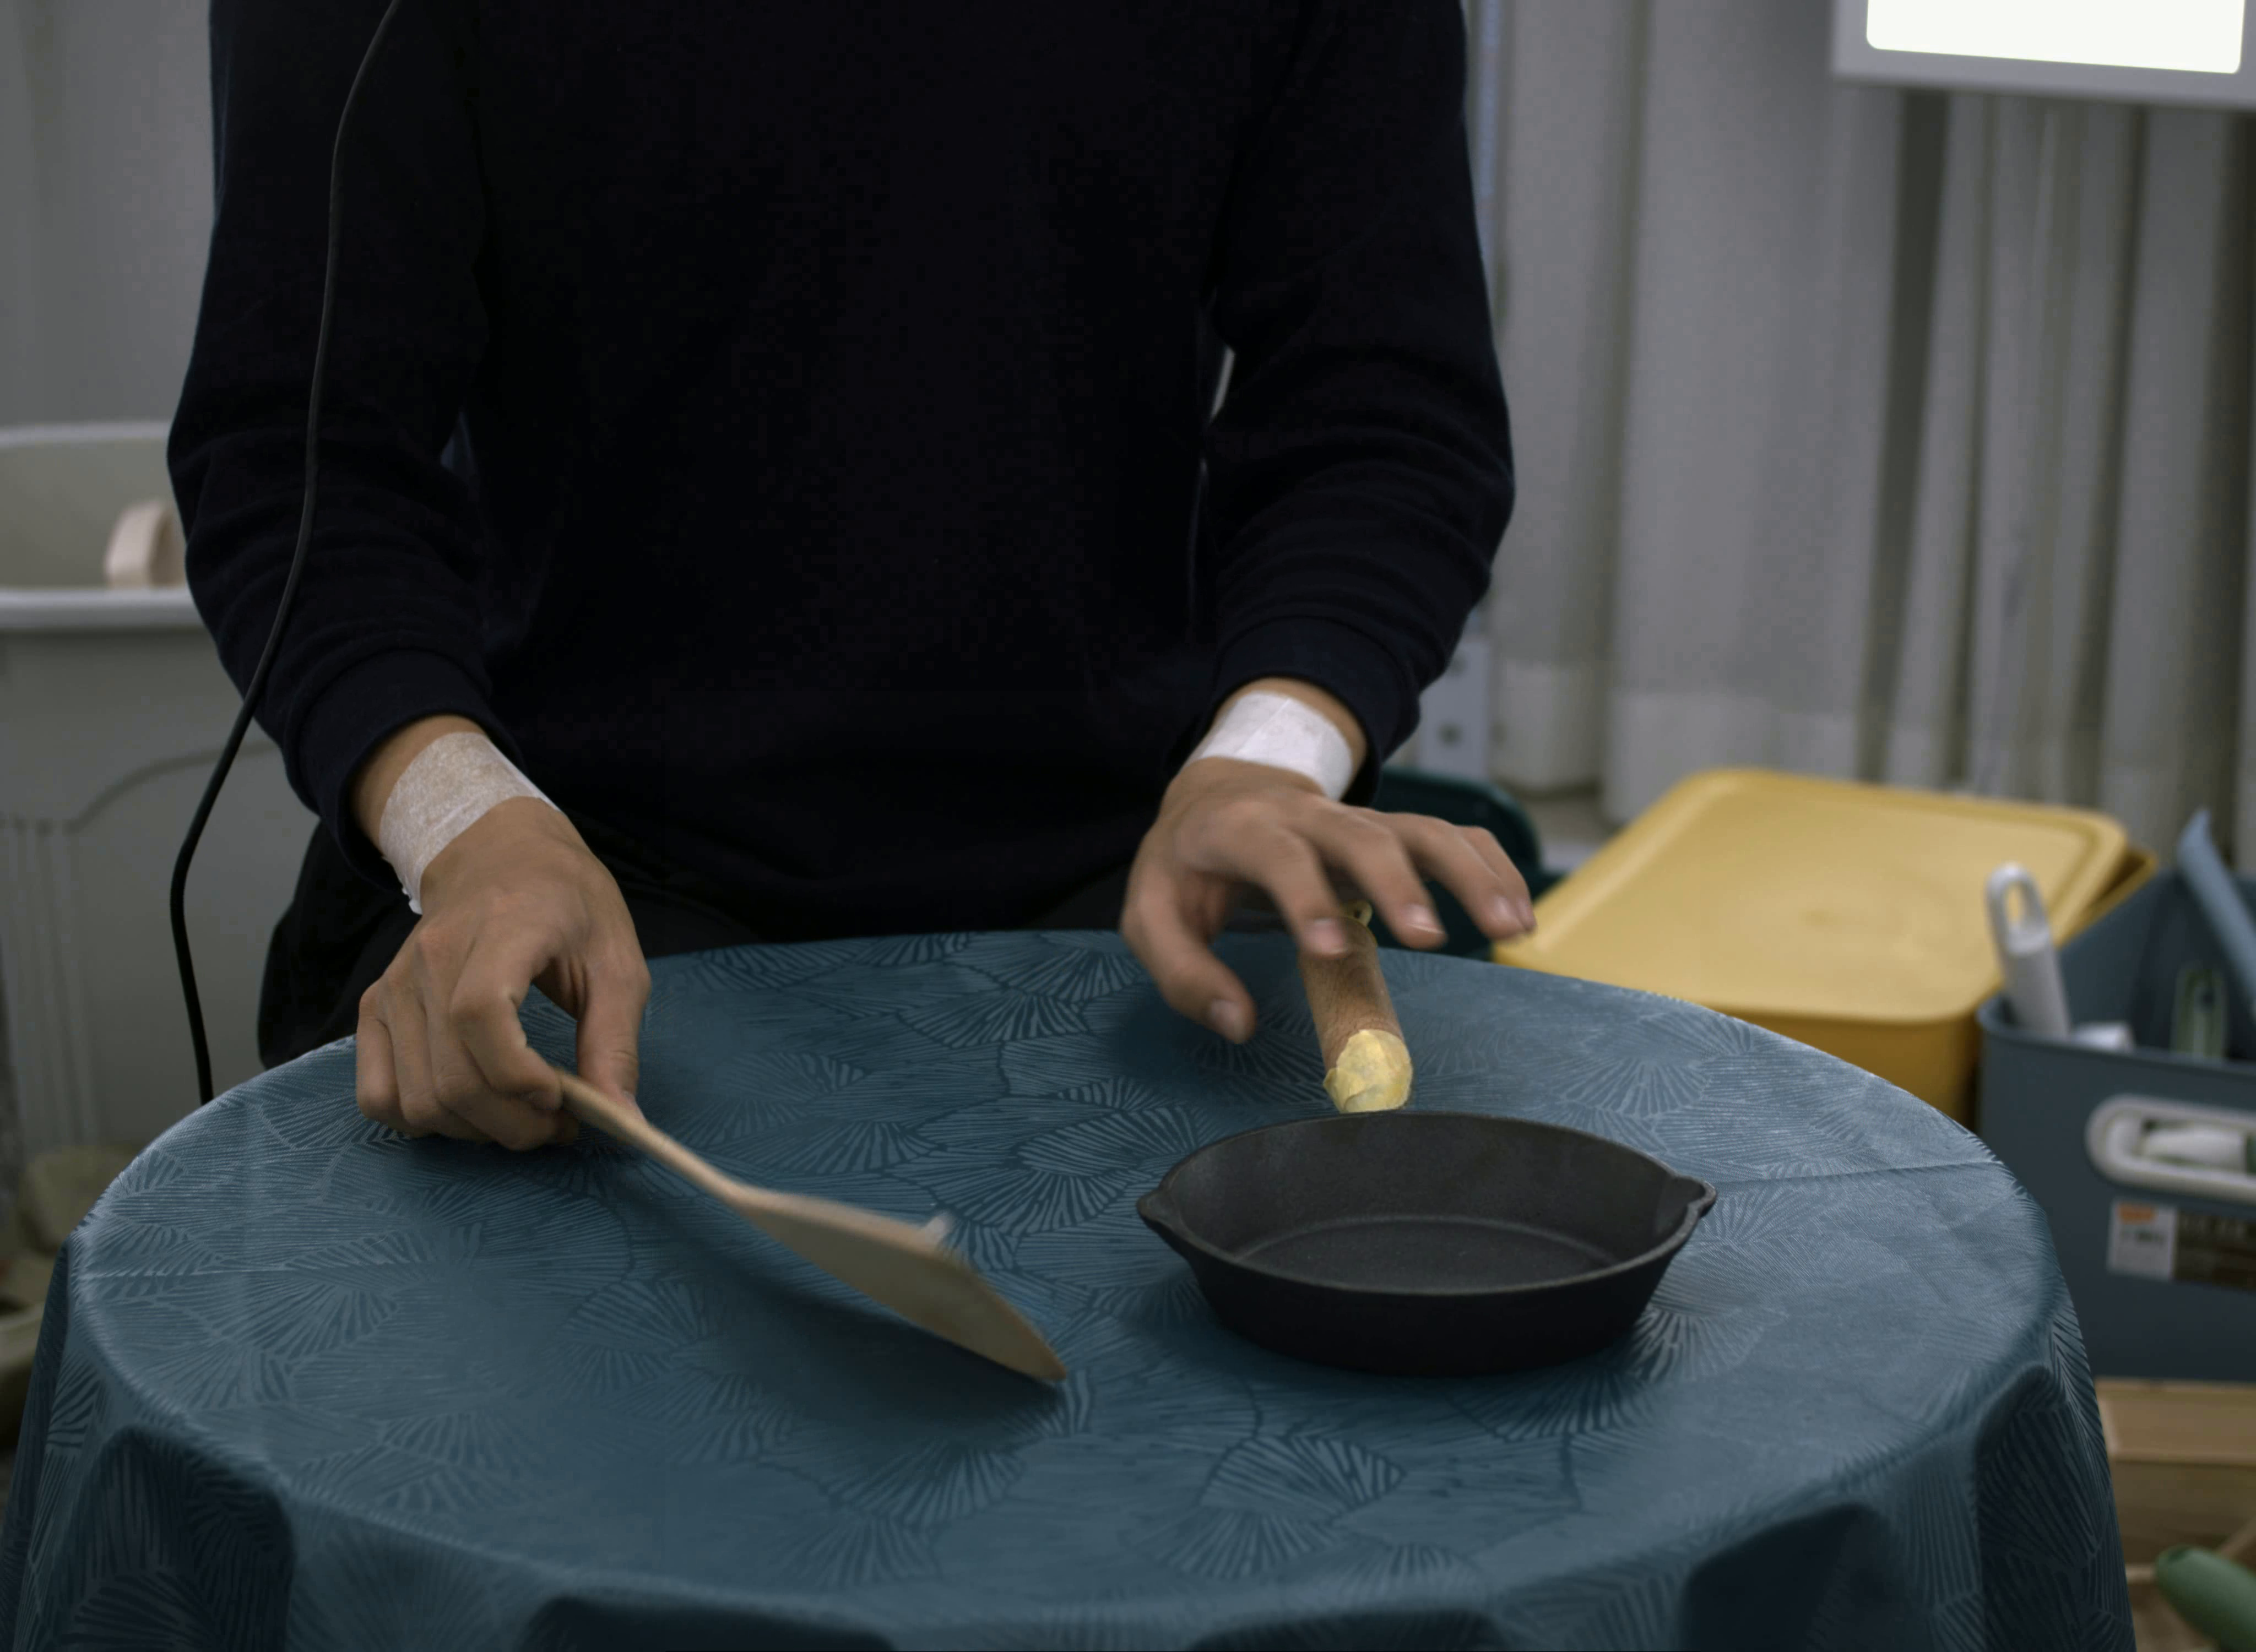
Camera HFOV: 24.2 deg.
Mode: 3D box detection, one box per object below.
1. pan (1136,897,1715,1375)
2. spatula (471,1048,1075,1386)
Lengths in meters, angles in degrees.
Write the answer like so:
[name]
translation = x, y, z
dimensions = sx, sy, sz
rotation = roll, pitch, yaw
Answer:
[pan]
translation = 0.082, 0.091, 1.607
dimensions = 0.168, 0.050, 0.322
rotation = -1, 17, -3
[spatula]
translation = -0.118, 0.108, 1.557
dimensions = 0.081, 0.016, 0.323
rotation = 36, -7, -33
